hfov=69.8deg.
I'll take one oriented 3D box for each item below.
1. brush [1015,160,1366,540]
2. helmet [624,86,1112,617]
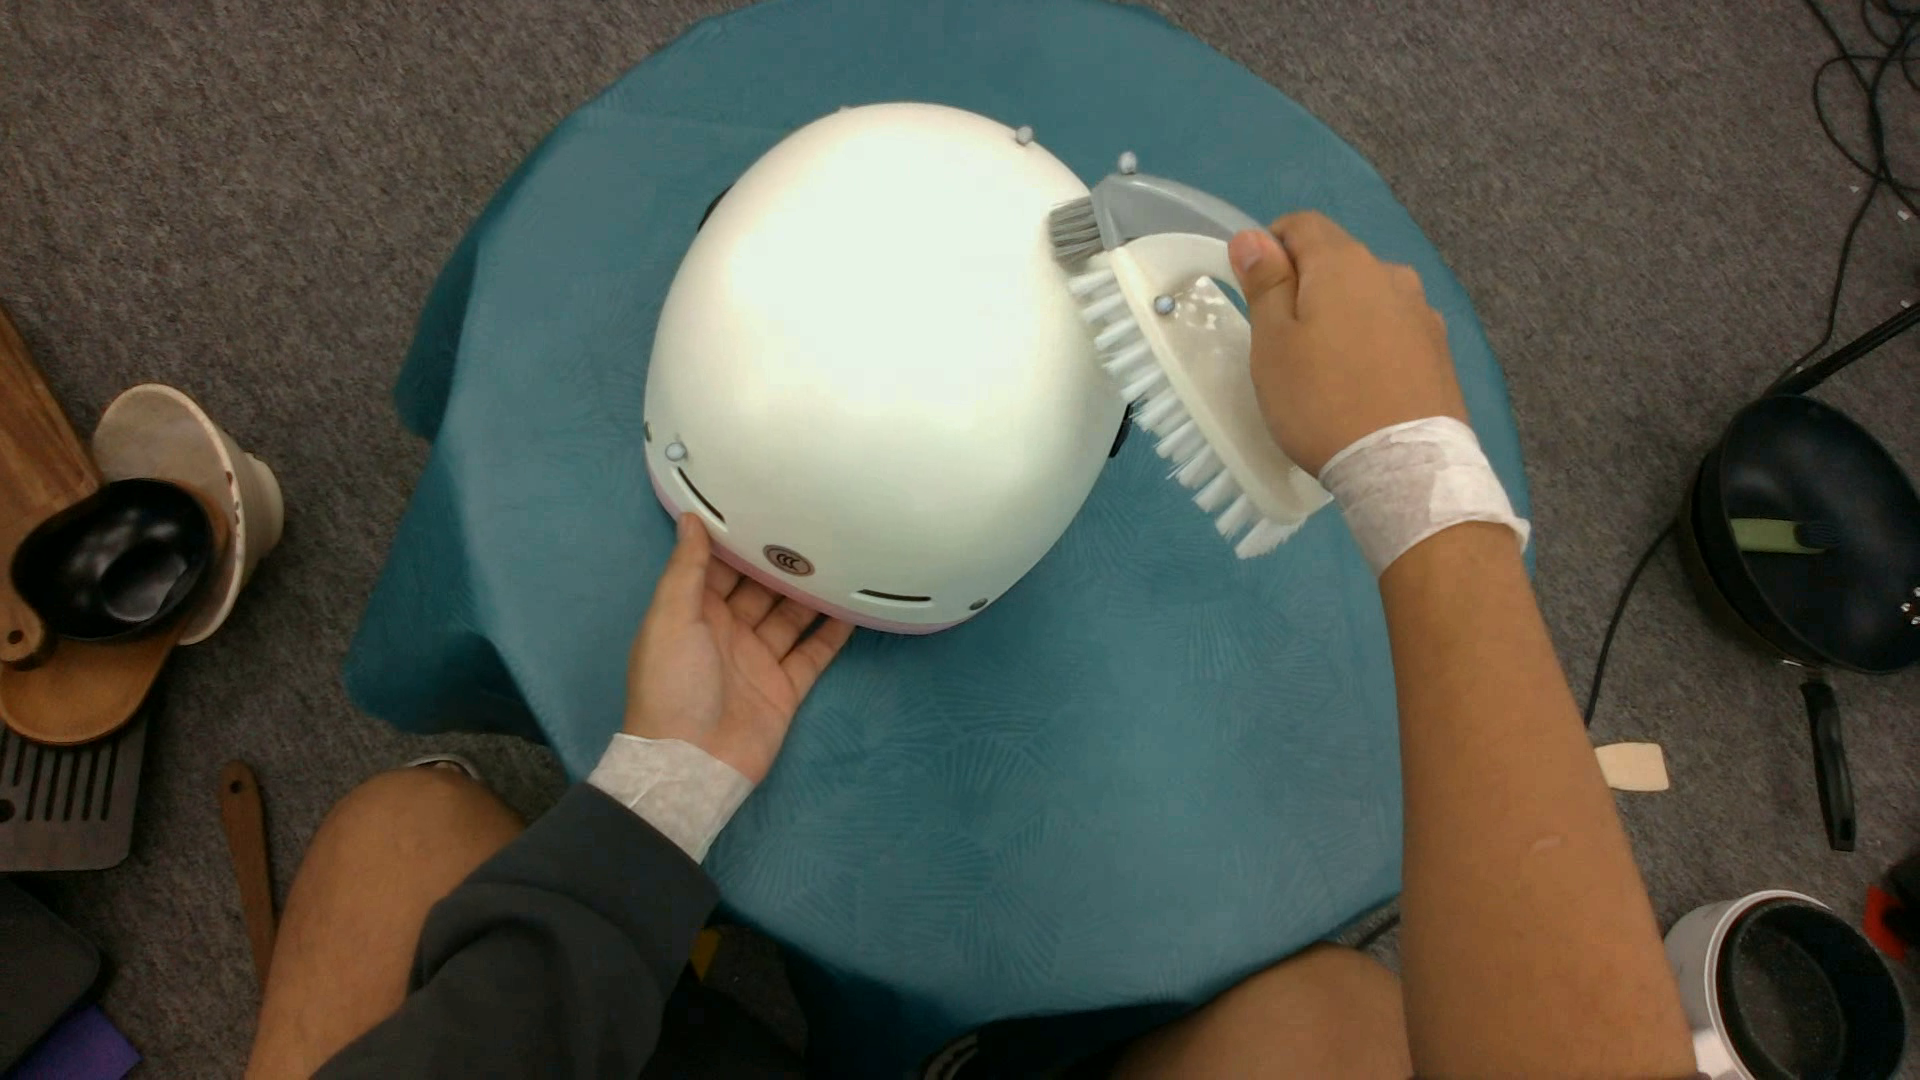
[{"bbox_3d":[0.097,-0.093,0.565,0.062,0.094,0.175,-27,79,-46],"label":"brush"},{"bbox_3d":[-0.032,-0.111,0.650,0.237,0.166,0.270,28,64,-3],"label":"helmet"}]
